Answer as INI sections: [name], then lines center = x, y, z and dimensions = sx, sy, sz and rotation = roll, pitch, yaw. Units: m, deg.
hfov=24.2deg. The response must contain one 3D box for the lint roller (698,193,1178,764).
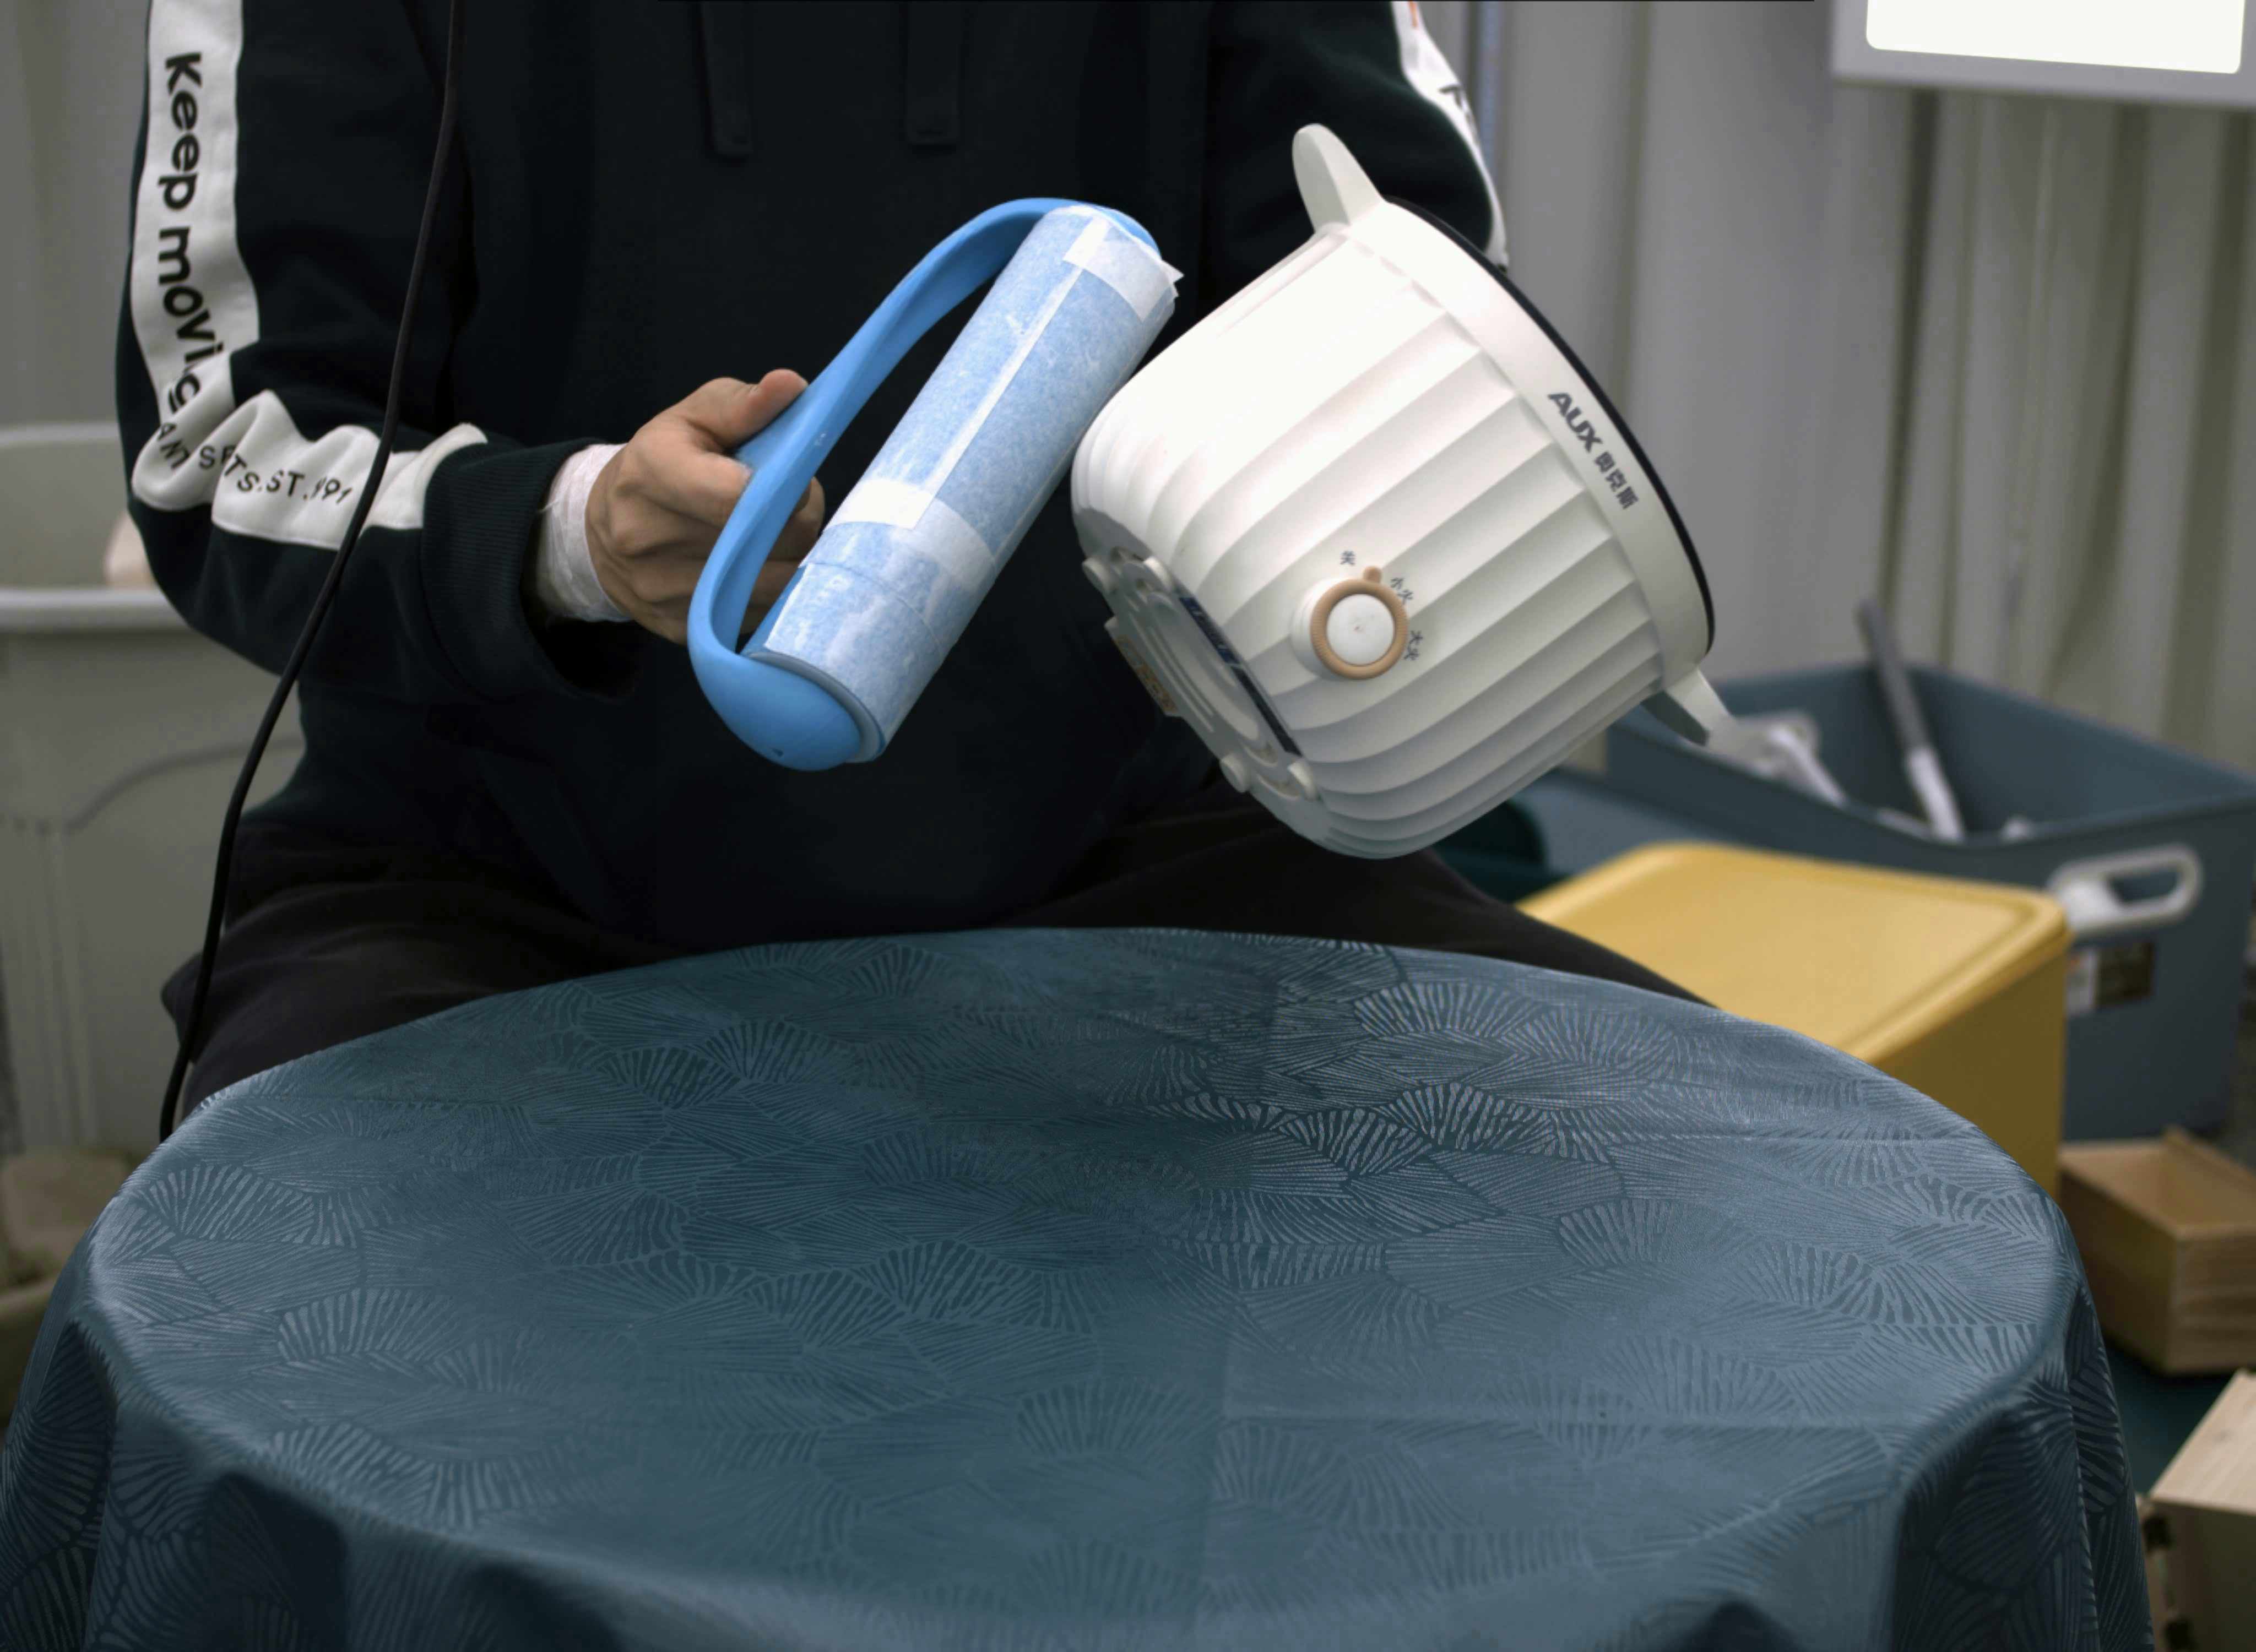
[lint roller]
center = -0.092, -0.106, 1.697
dimensions = 0.178, 0.069, 0.228
rotation = -7, 45, 46

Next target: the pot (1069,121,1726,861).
[pot]
center = 0.076, -0.084, 1.644
dimensions = 0.142, 0.242, 0.189
rotation = -39, 12, -13
